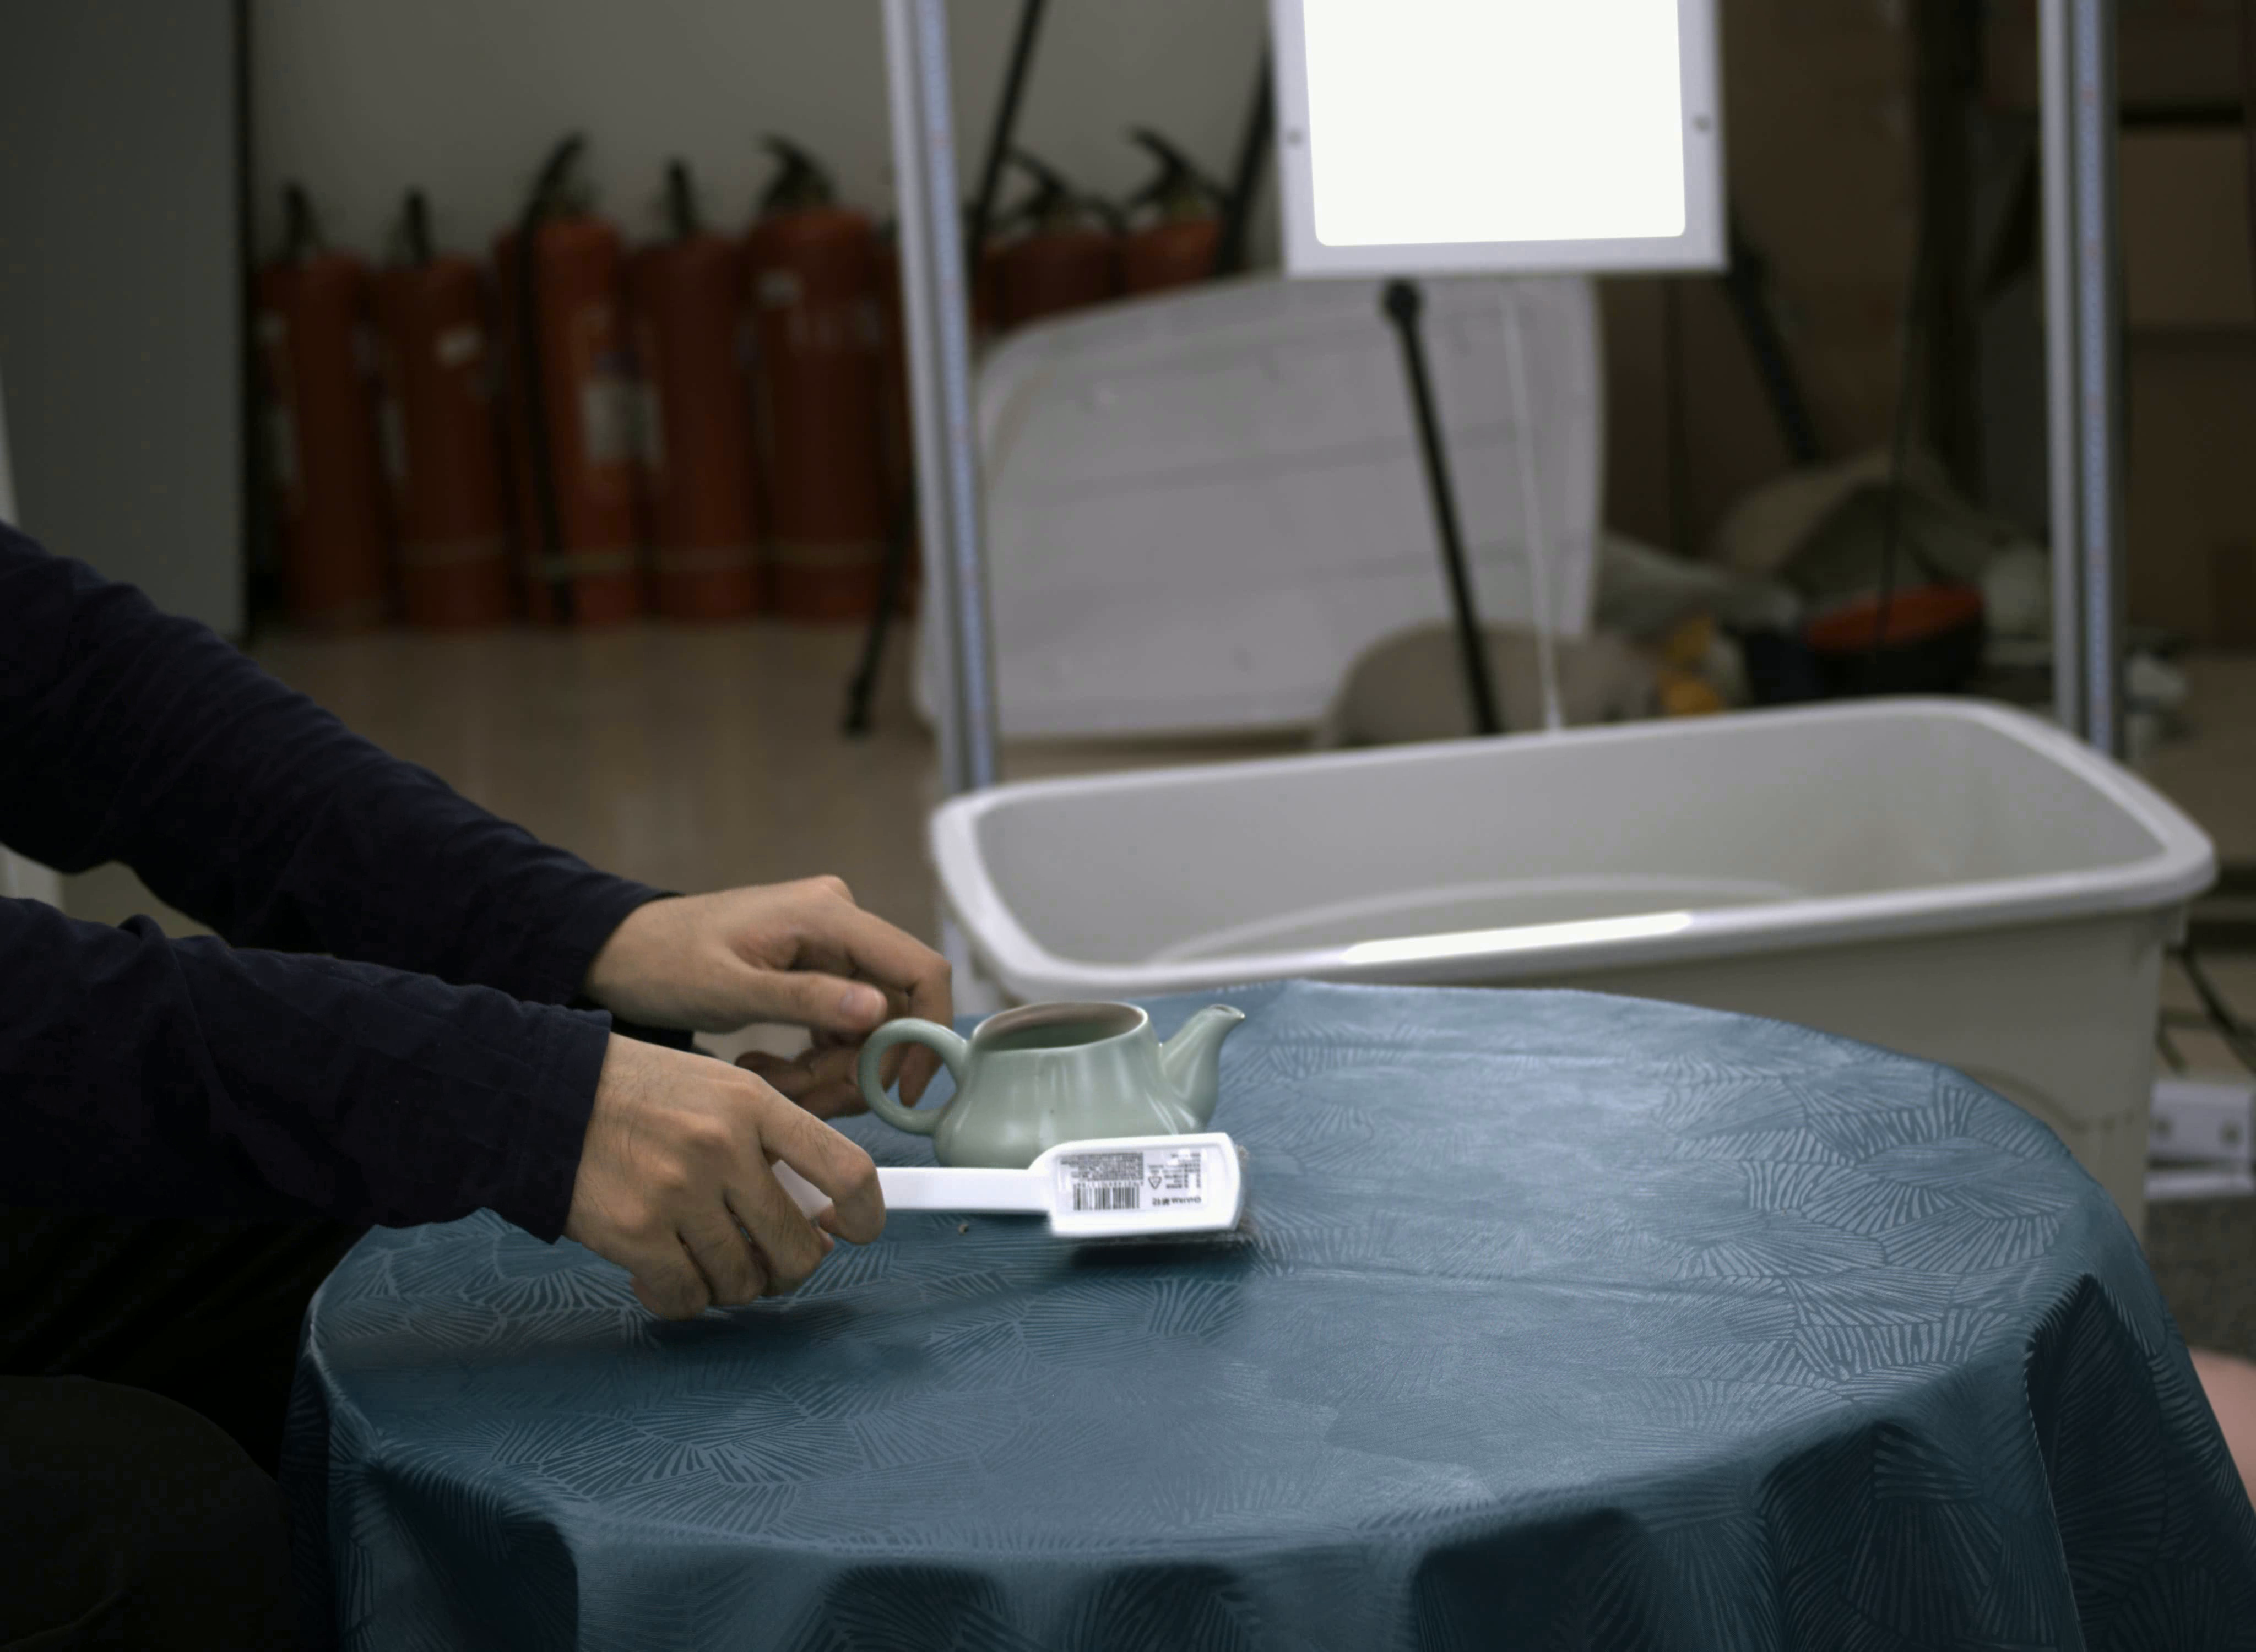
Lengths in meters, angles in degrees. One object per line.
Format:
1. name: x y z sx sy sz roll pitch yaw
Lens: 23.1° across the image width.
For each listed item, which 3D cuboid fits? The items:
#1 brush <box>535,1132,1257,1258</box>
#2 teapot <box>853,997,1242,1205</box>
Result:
1. brush: -0.075 0.125 1.813 0.241 0.034 0.050 -3 -8 -8
2. teapot: -0.027 0.095 1.912 0.137 0.061 0.095 -3 16 5
